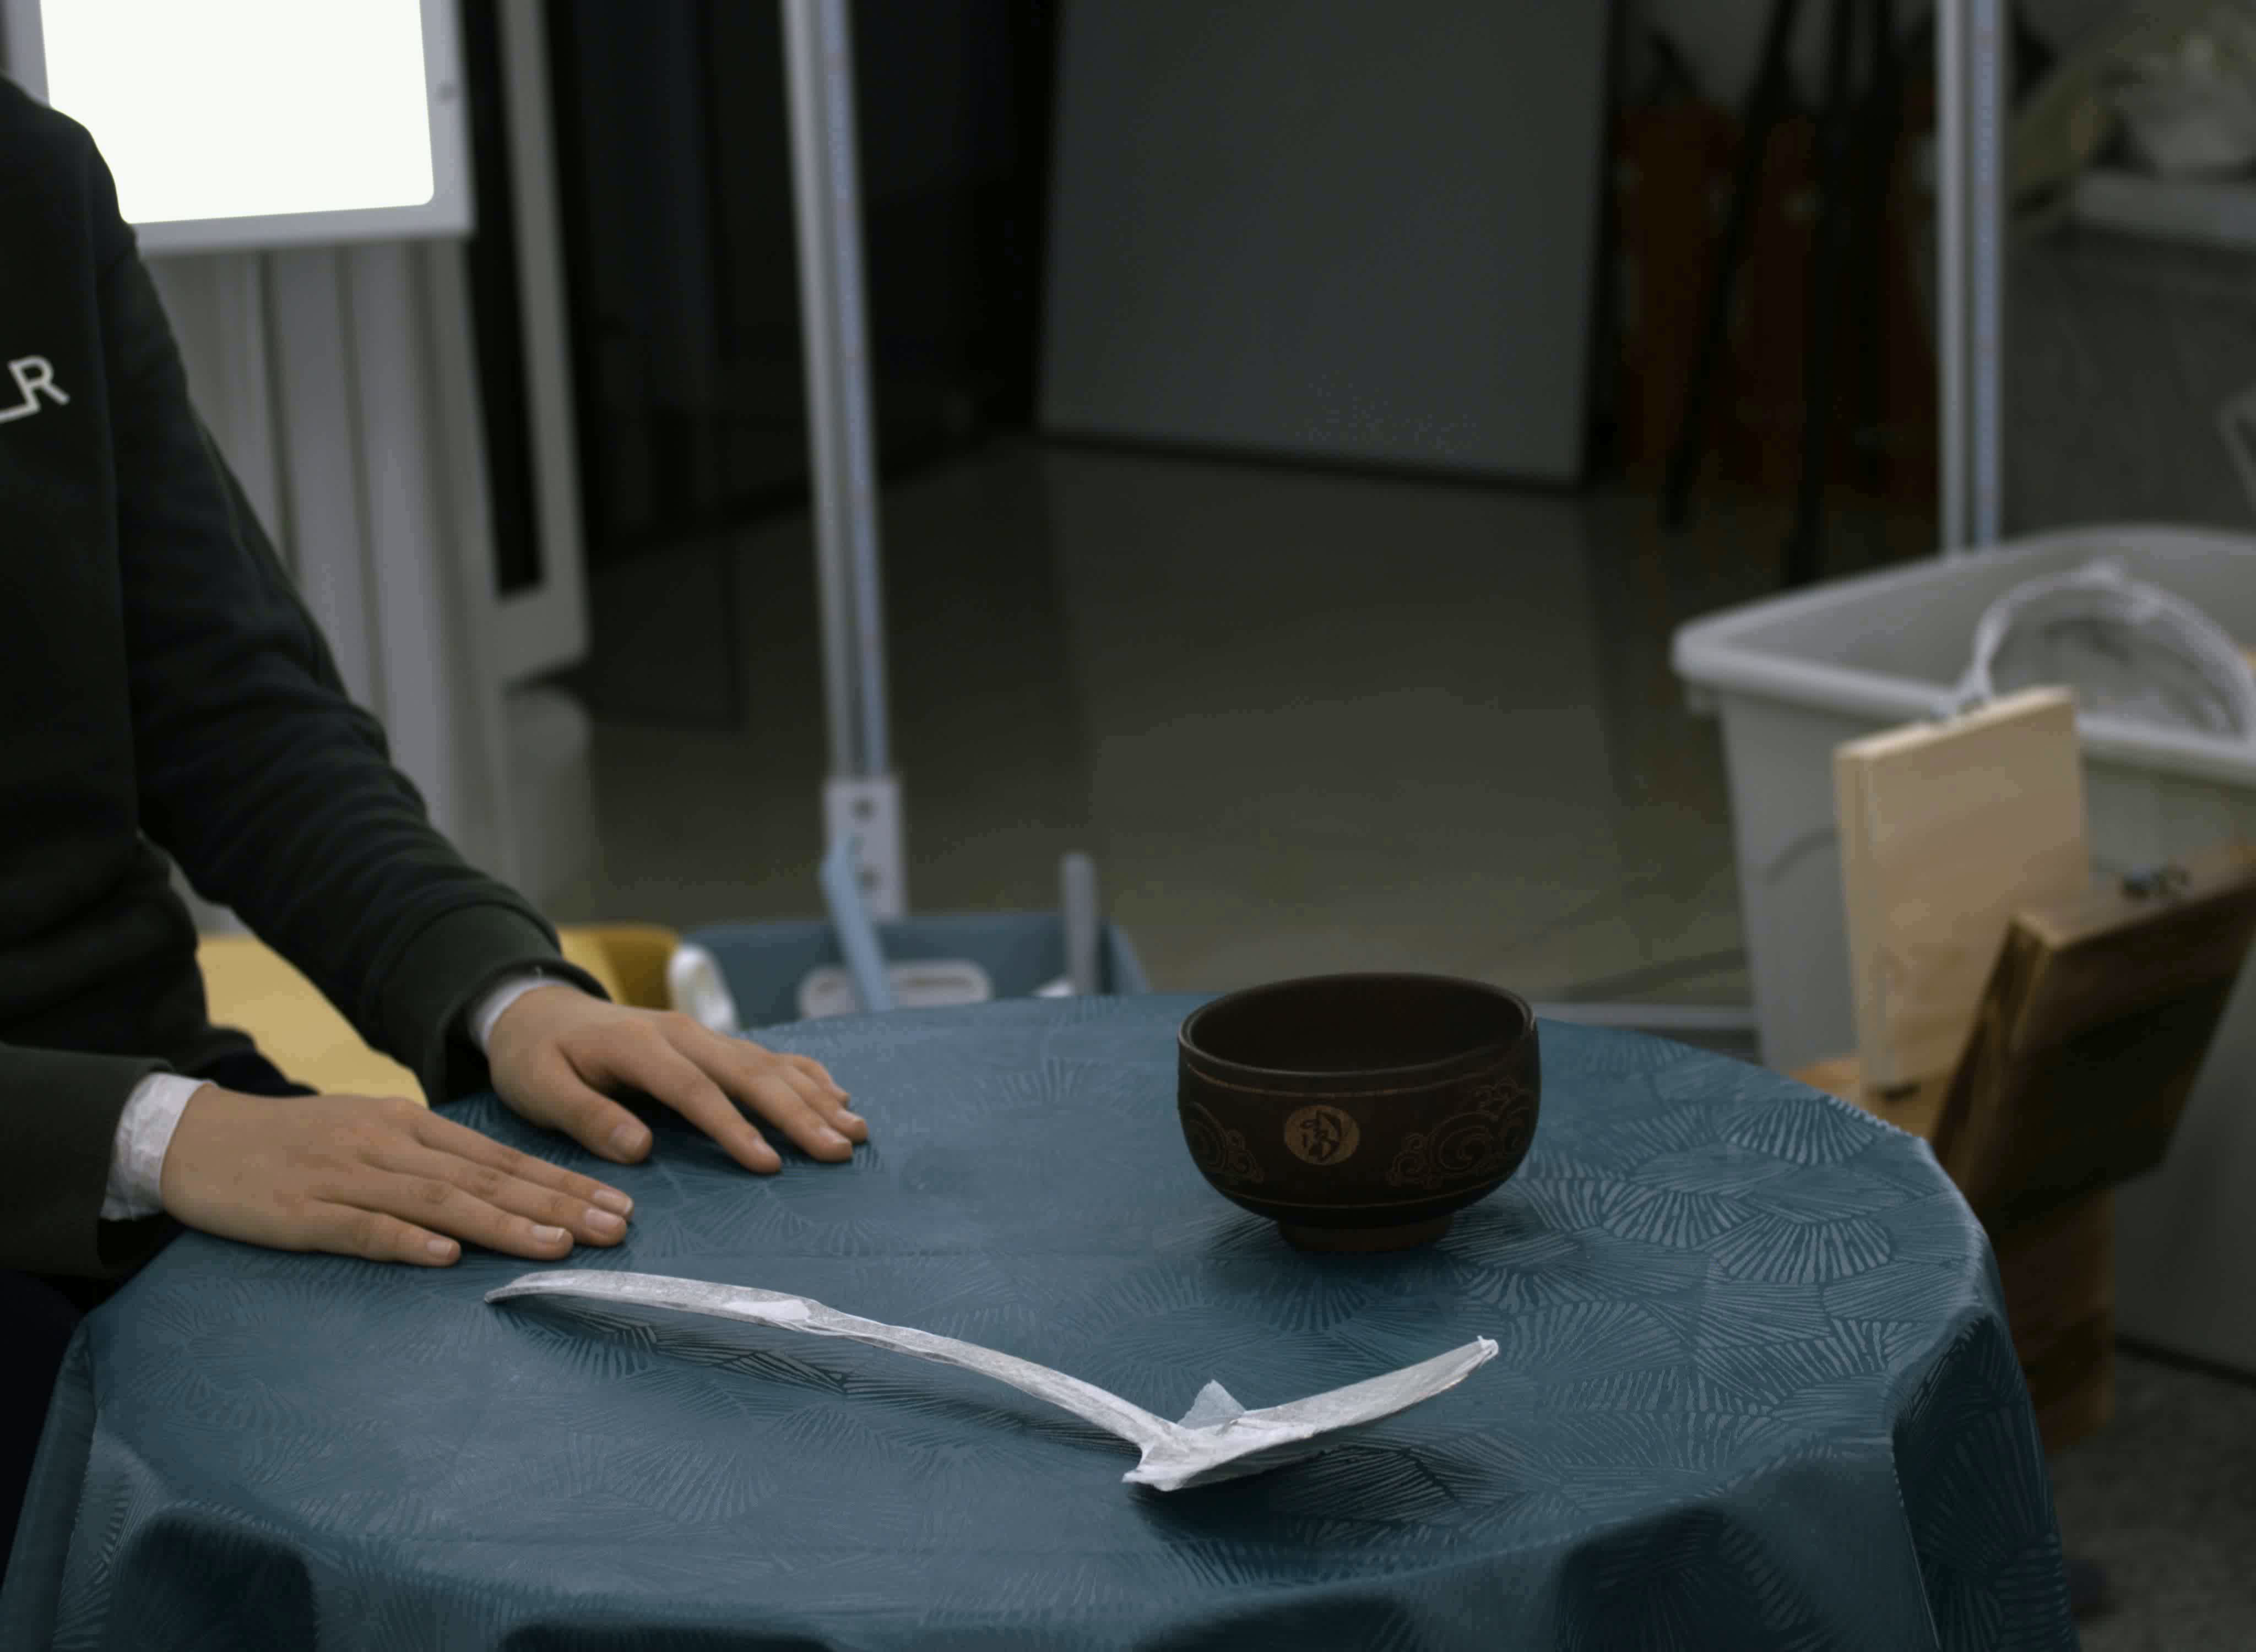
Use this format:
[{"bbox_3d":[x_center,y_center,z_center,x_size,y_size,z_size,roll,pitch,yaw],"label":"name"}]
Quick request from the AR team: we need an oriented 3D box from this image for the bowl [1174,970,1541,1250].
[{"bbox_3d":[0.074,0.093,1.712,0.116,0.070,0.118,-4,12,0],"label":"bowl"}]

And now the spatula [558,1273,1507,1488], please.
[{"bbox_3d":[-0.049,0.151,1.586,0.368,0.045,0.097,9,20,41],"label":"spatula"}]
